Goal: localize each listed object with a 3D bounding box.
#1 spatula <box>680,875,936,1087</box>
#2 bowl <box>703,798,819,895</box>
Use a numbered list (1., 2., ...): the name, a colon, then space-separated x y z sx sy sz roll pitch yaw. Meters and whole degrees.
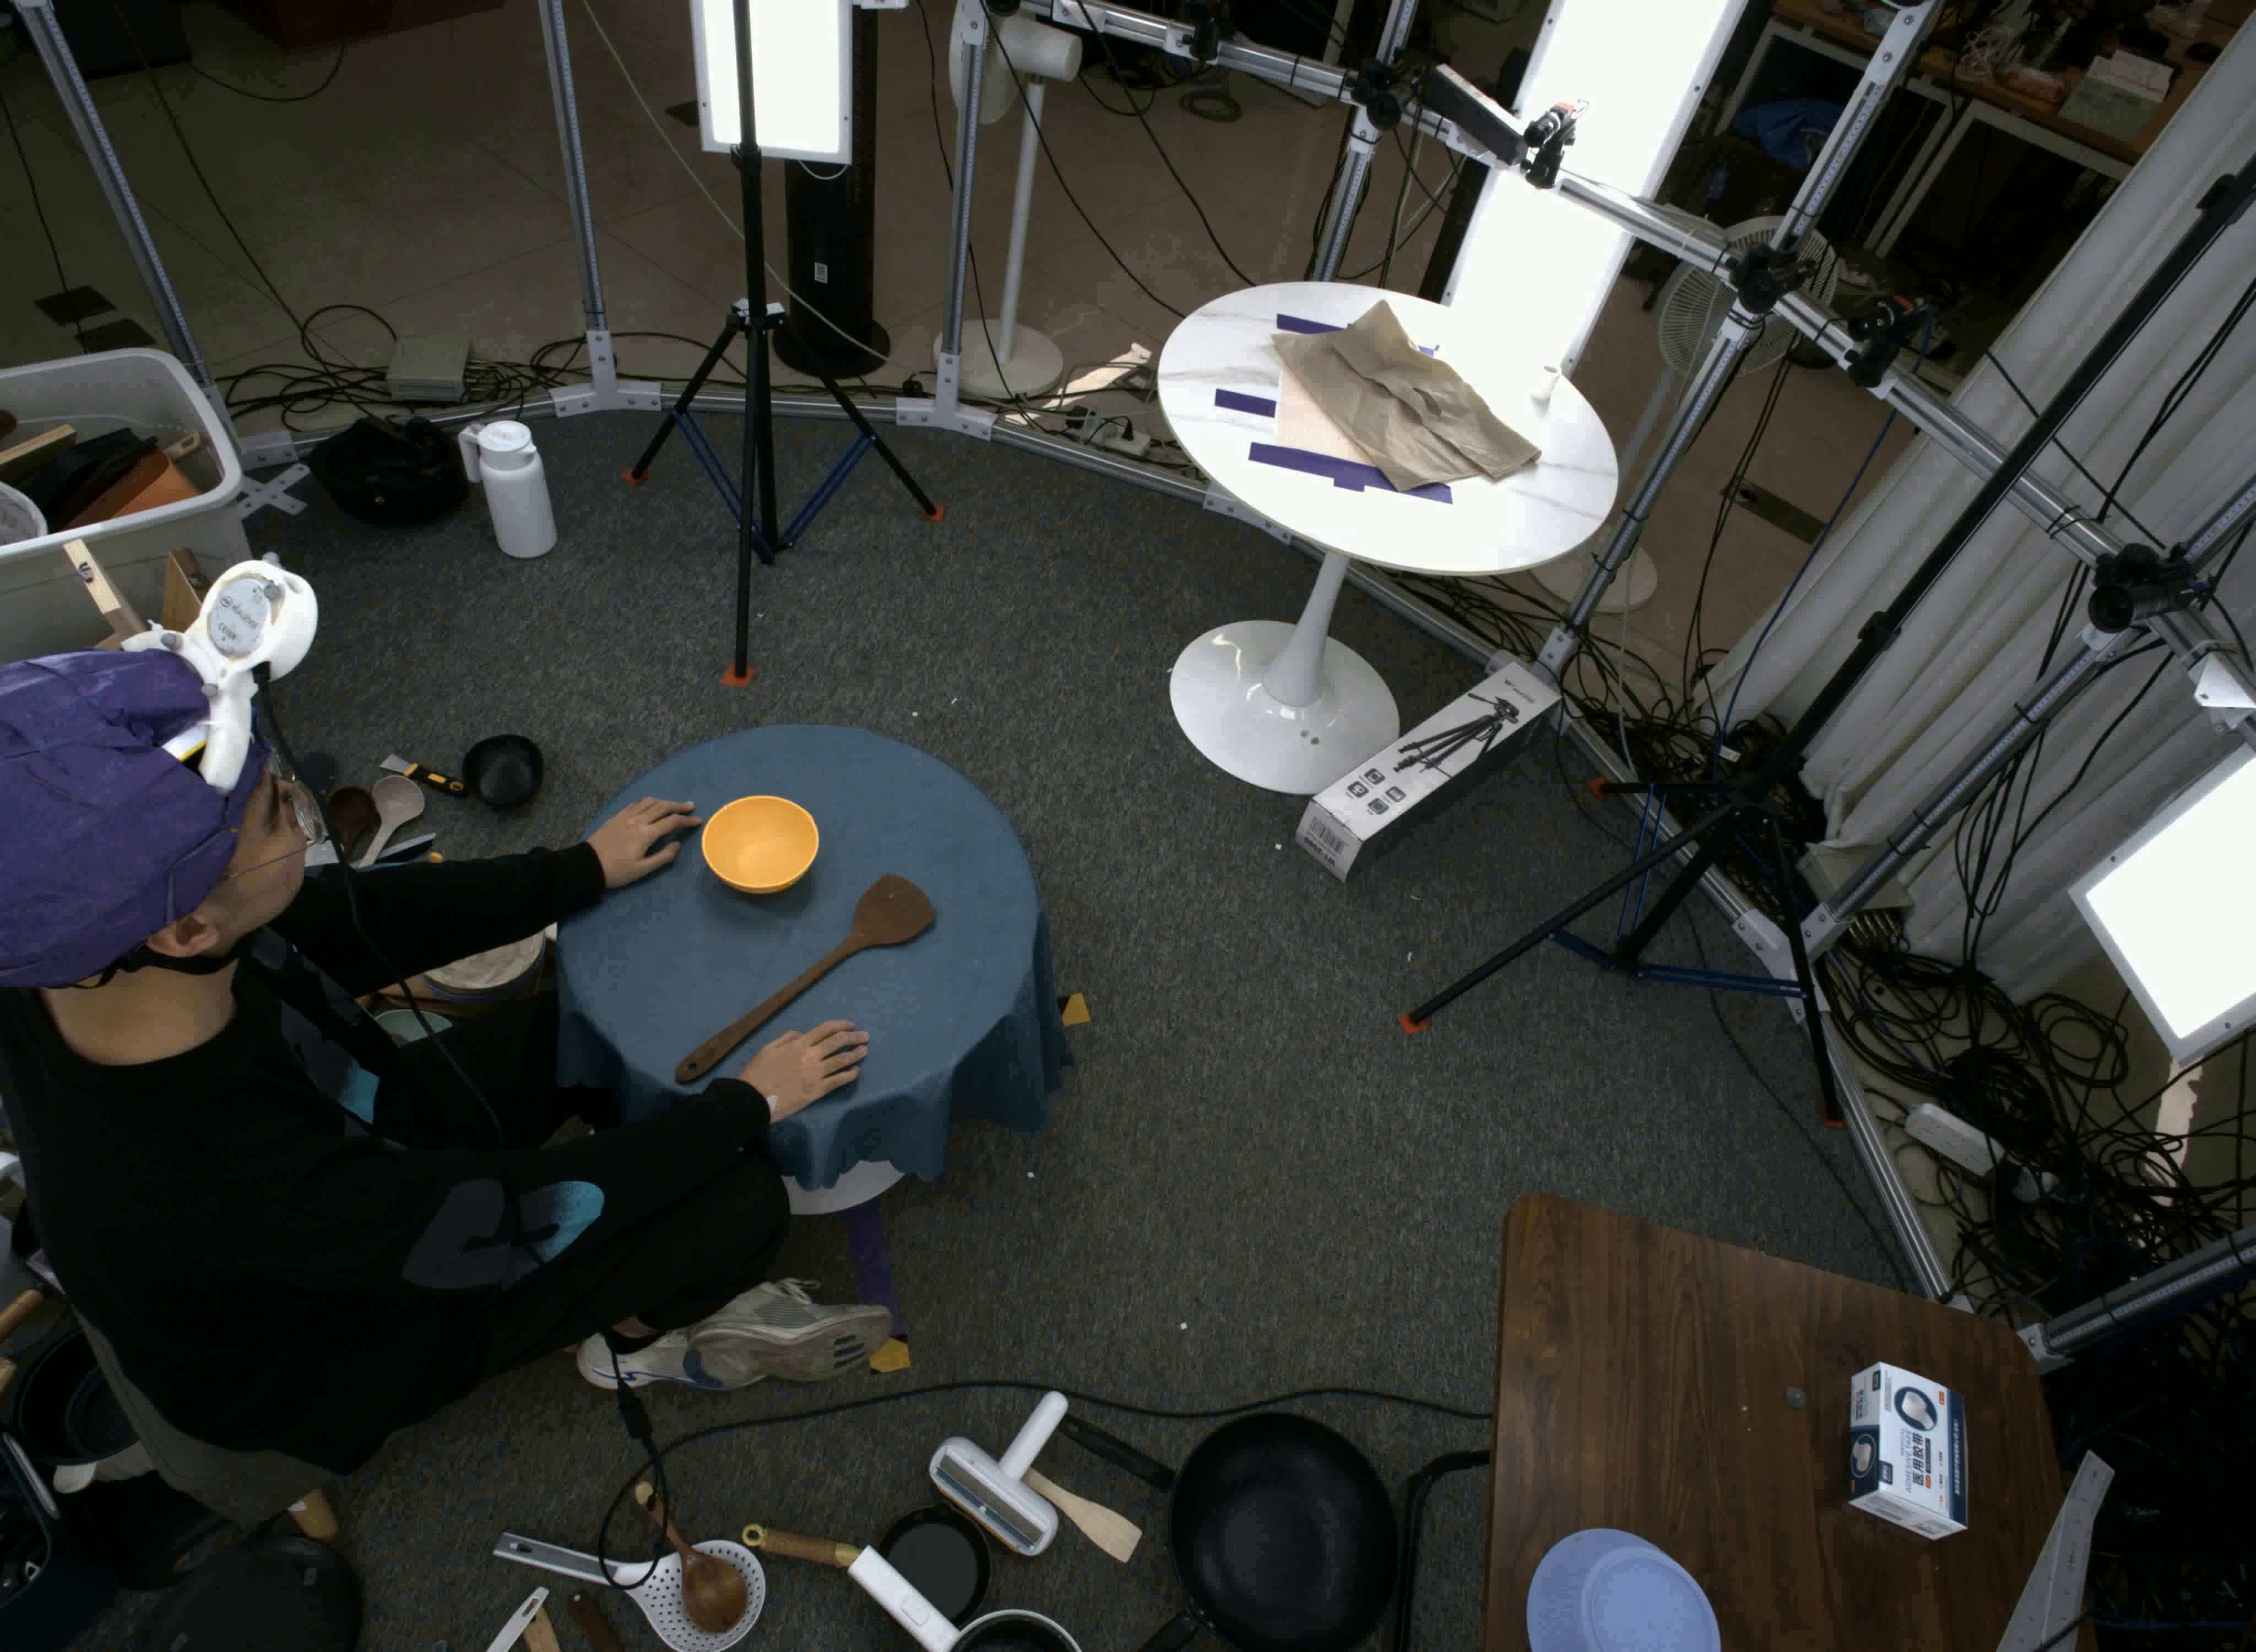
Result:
1. spatula: -0.393 0.187 1.589 0.094 0.016 0.386 38 54 15
2. bowl: -0.466 0.036 1.656 0.144 0.061 0.142 6 51 -6
